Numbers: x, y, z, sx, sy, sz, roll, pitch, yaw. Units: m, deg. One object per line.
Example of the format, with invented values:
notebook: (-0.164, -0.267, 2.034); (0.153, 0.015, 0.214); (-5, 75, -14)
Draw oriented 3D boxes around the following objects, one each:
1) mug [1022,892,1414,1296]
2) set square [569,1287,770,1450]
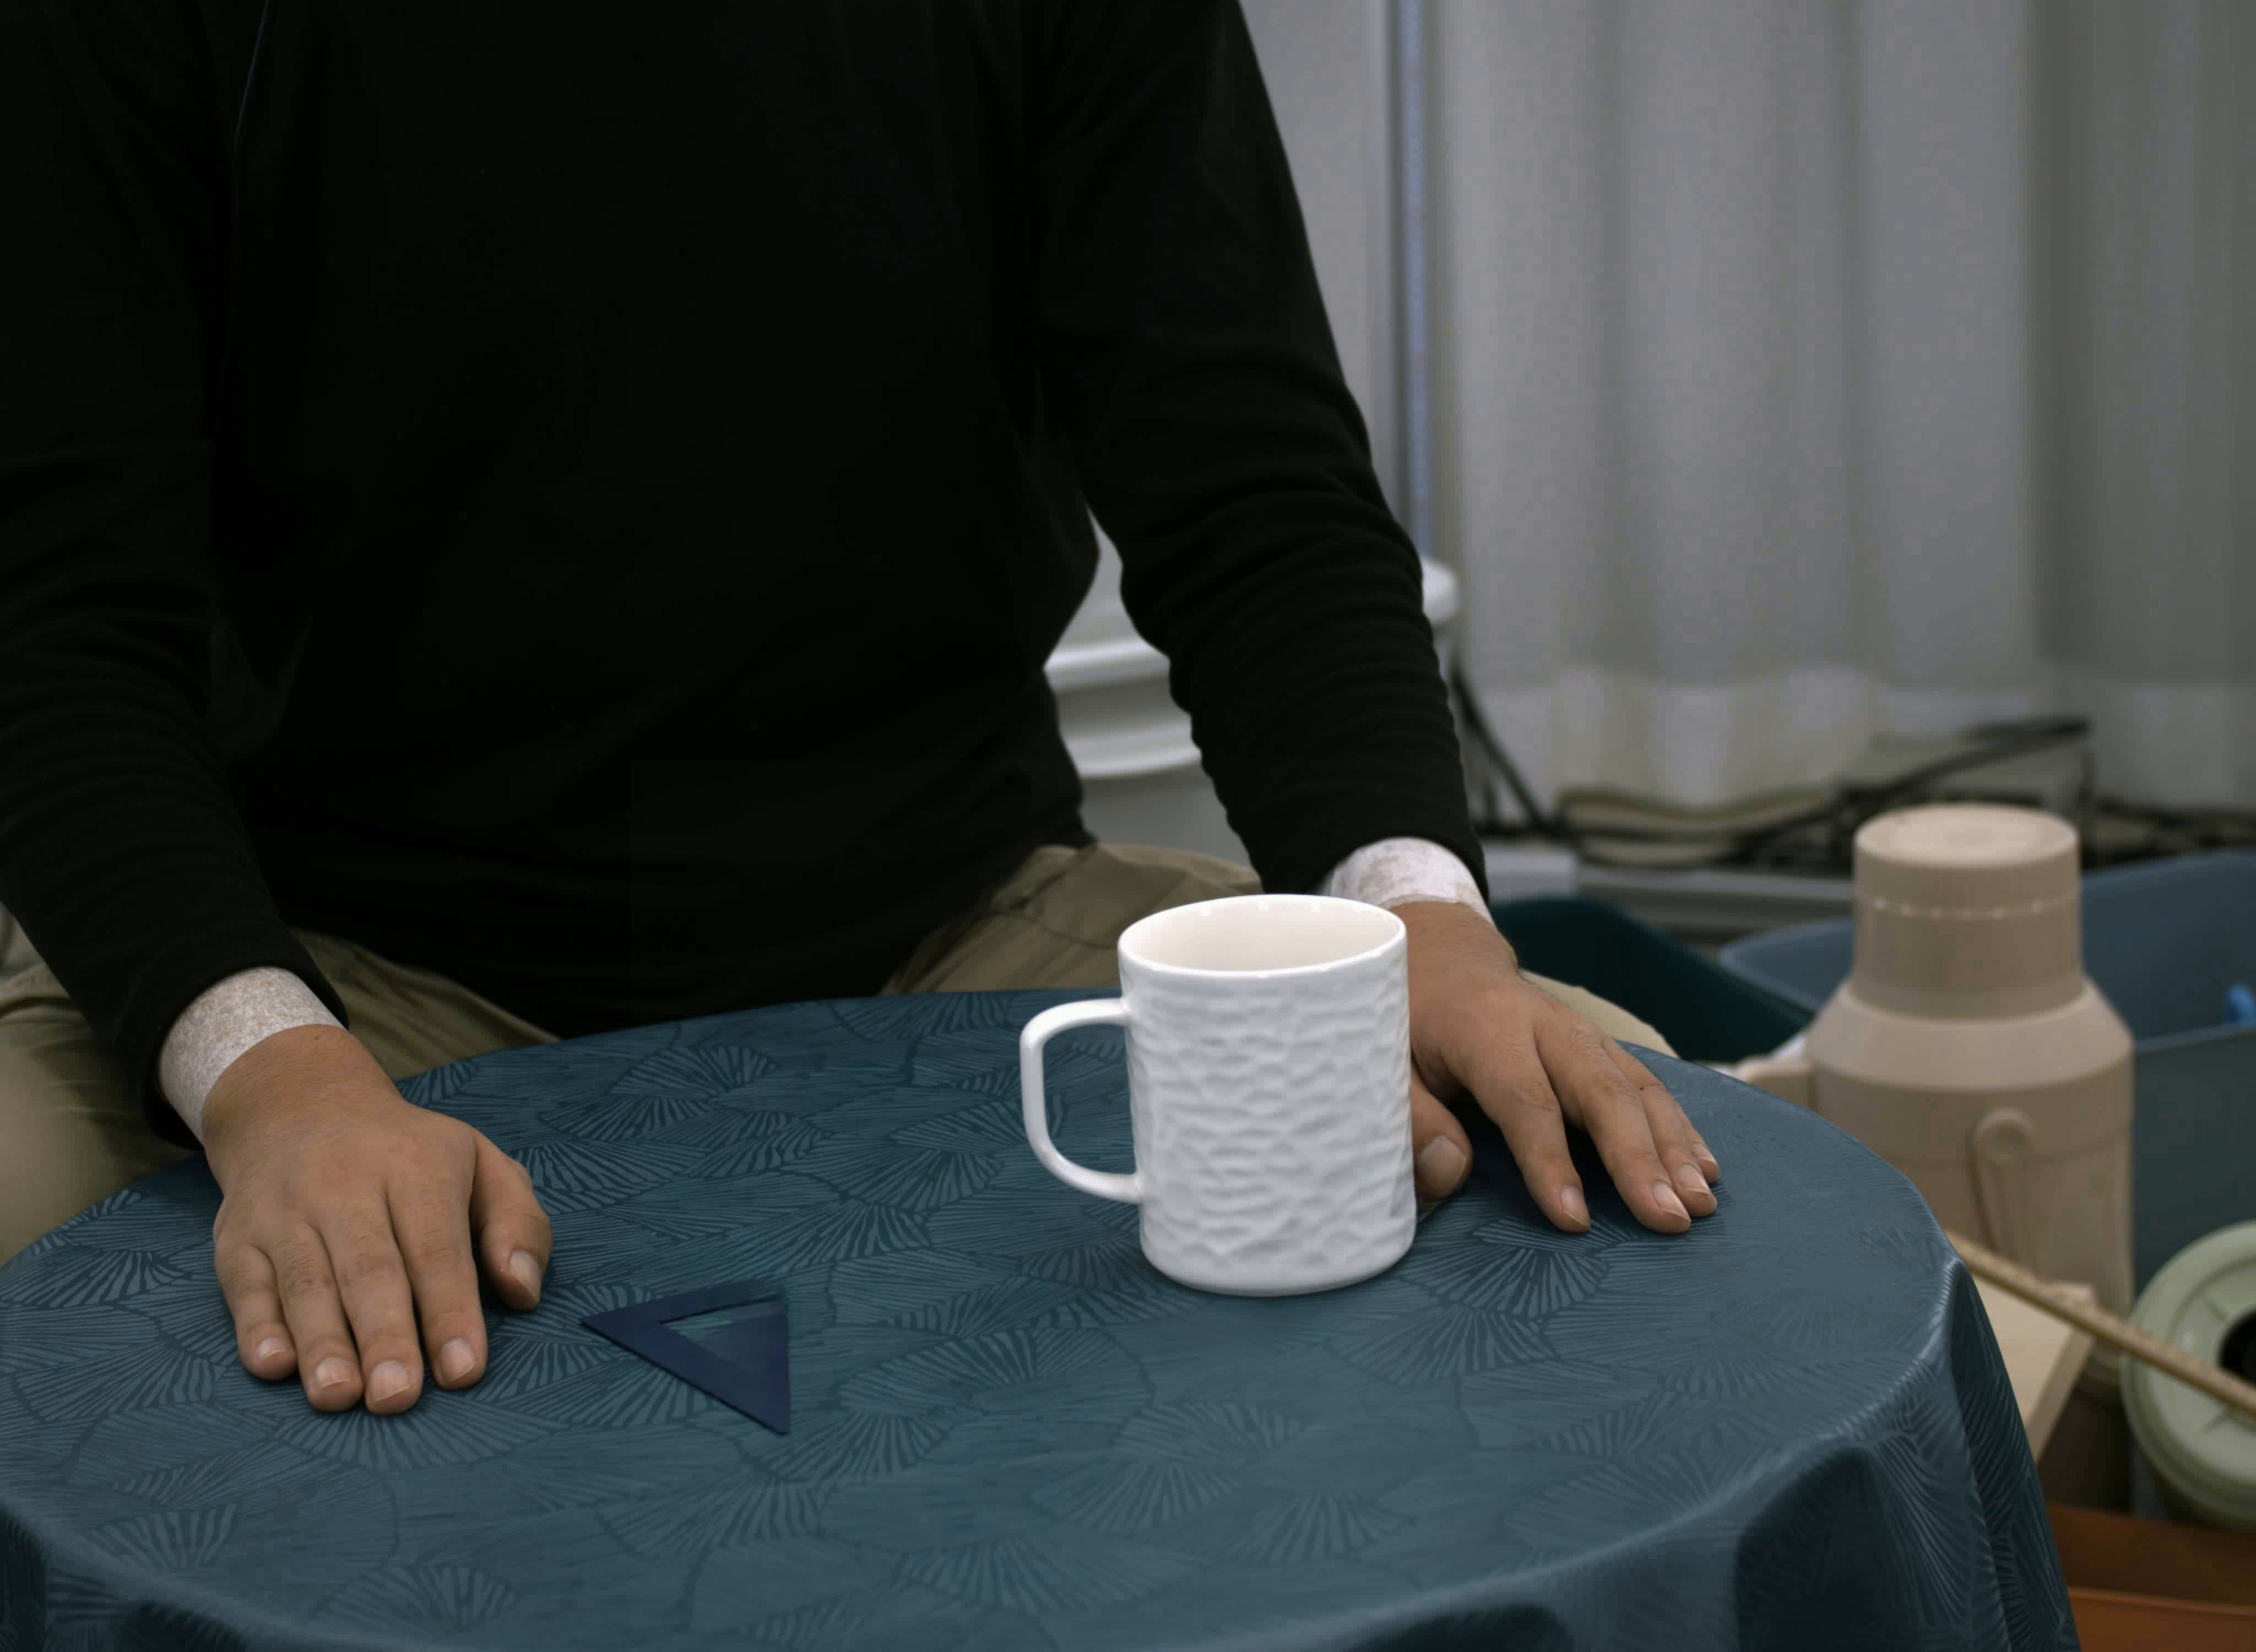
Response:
mug: (0.027, 0.081, 1.635); (0.118, 0.101, 0.085); (-5, 14, -9)
set square: (-0.135, 0.155, 1.579); (0.061, 0.006, 0.133); (-1, 15, 1)
